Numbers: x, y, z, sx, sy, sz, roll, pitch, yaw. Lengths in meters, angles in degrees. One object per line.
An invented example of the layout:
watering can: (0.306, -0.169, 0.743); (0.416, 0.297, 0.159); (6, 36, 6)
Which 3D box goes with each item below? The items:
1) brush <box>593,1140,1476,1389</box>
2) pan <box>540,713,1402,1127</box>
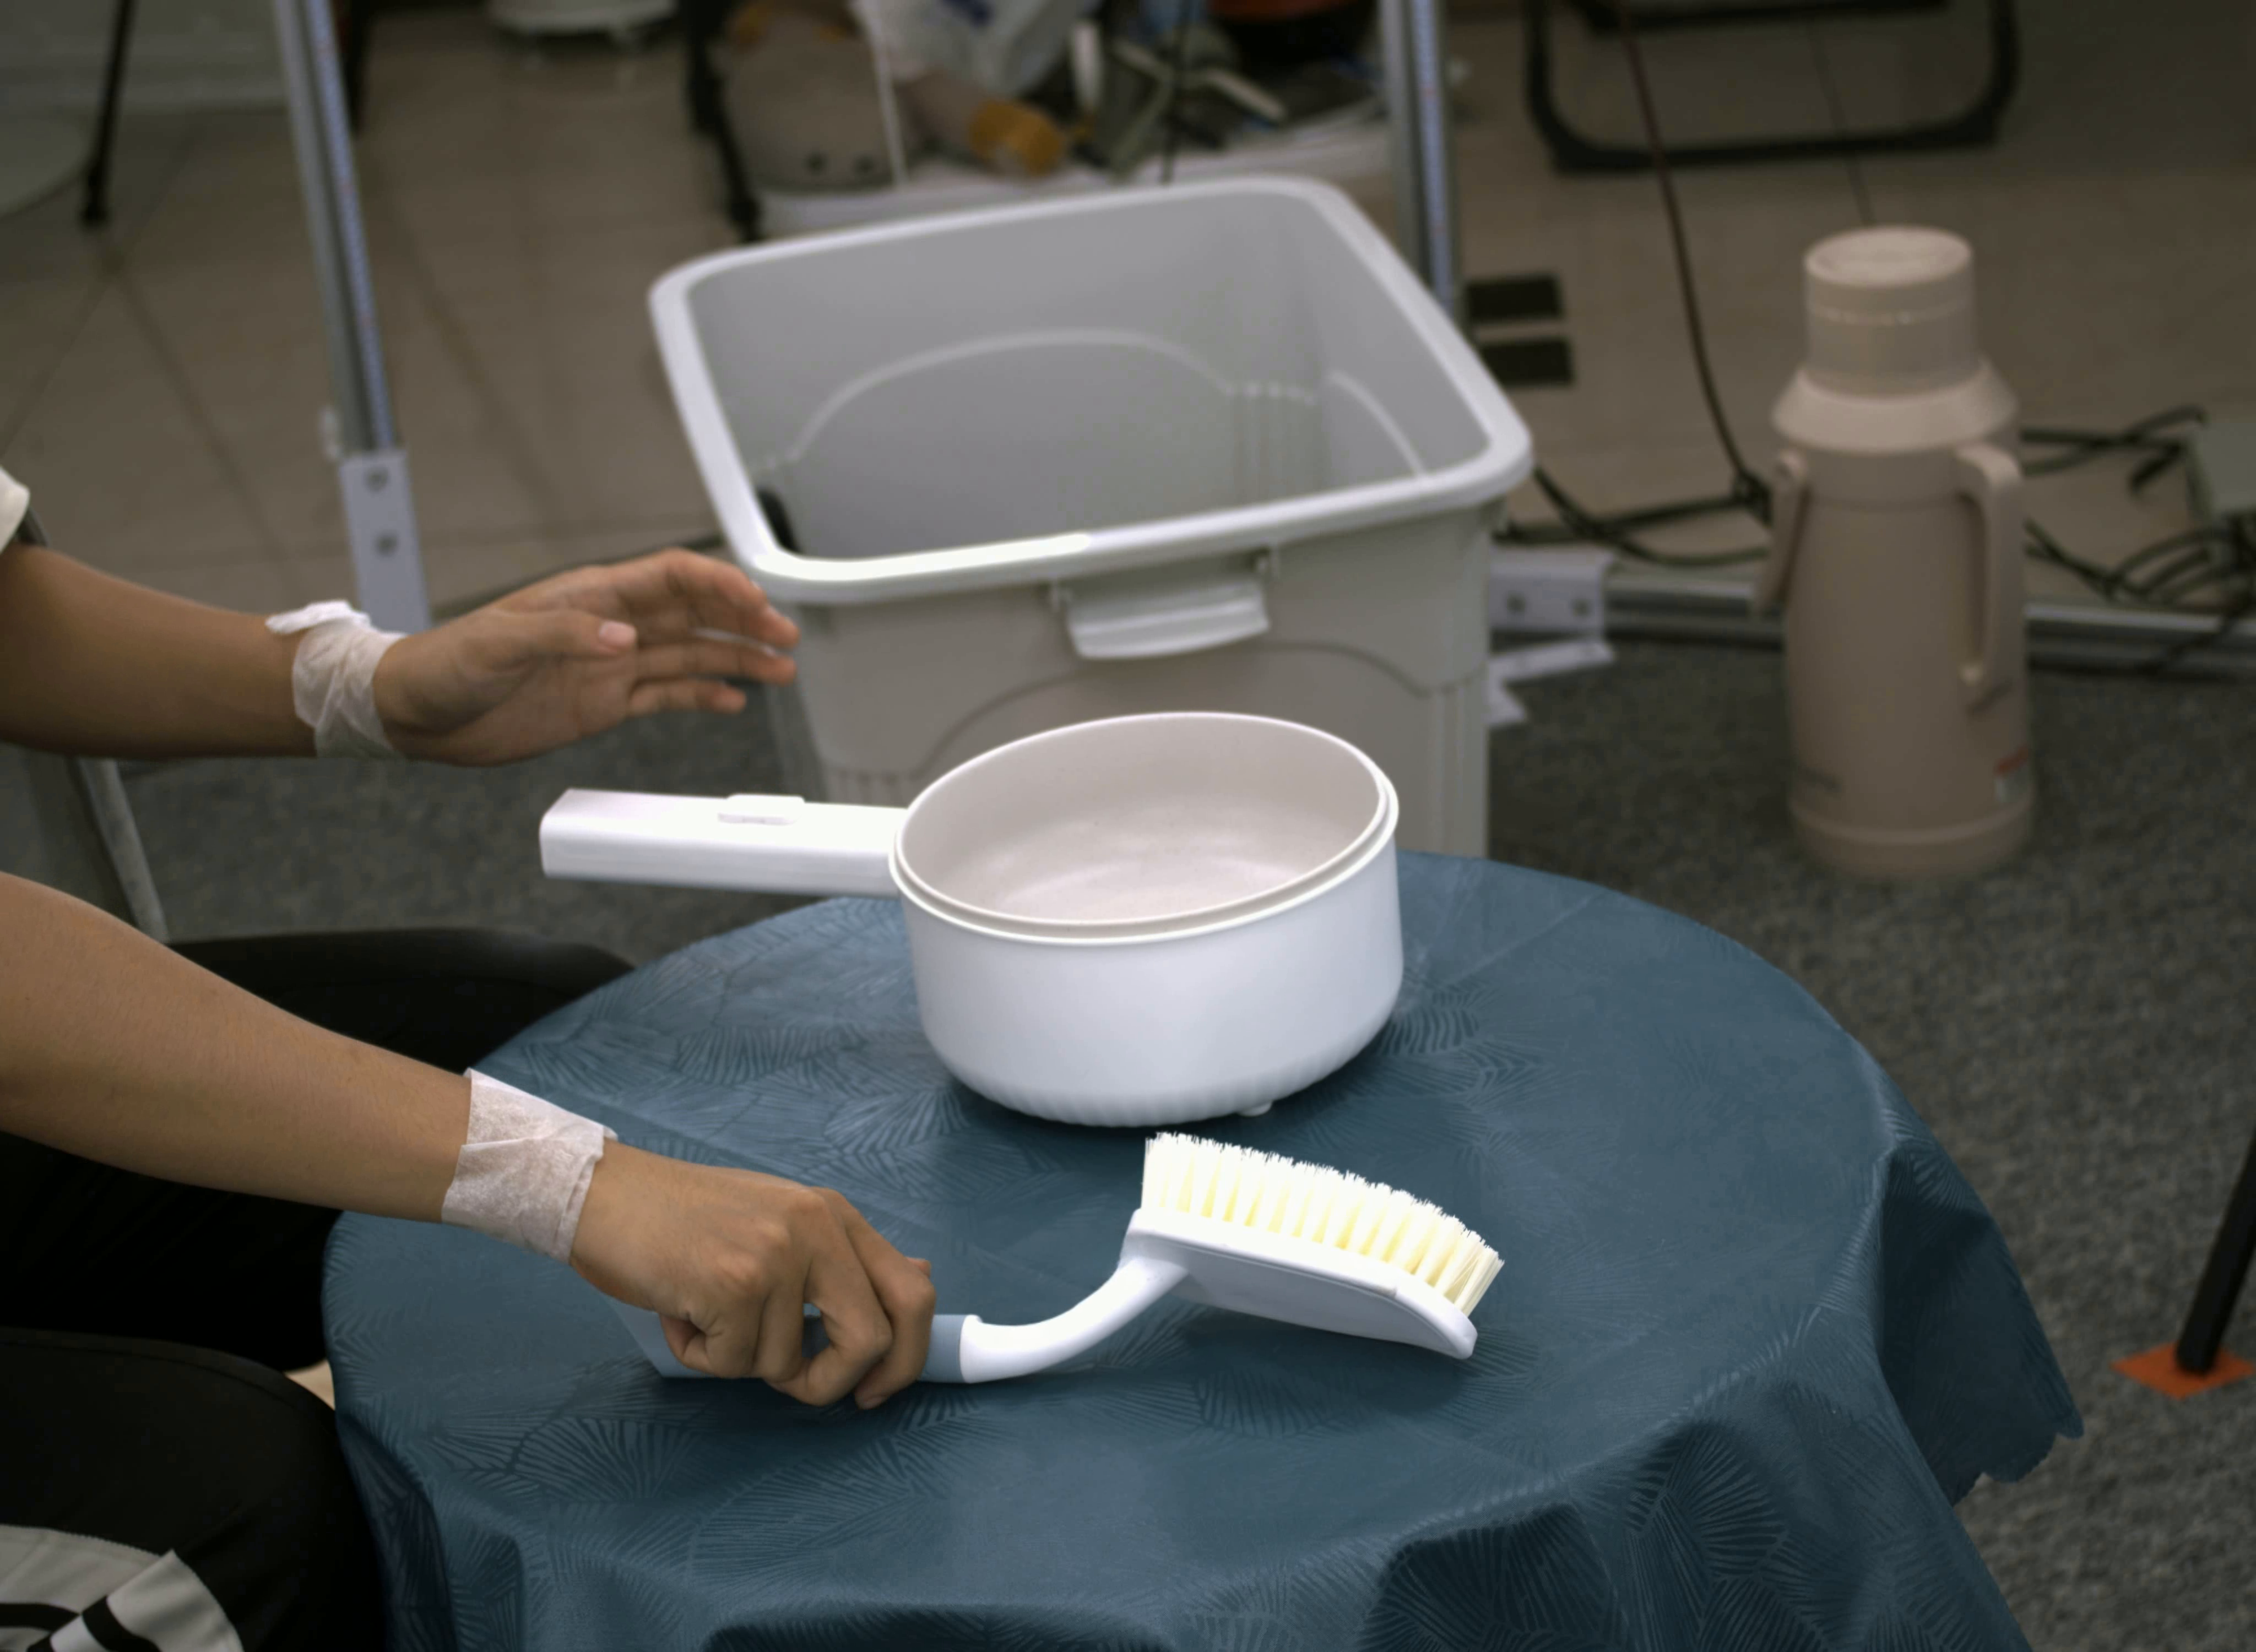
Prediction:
brush: (-0.035, 0.151, 2.040); (0.325, 0.084, 0.083); (0, 26, 14)
pan: (-0.063, 0.038, 2.263); (0.354, 0.104, 0.198); (2, 27, 19)
